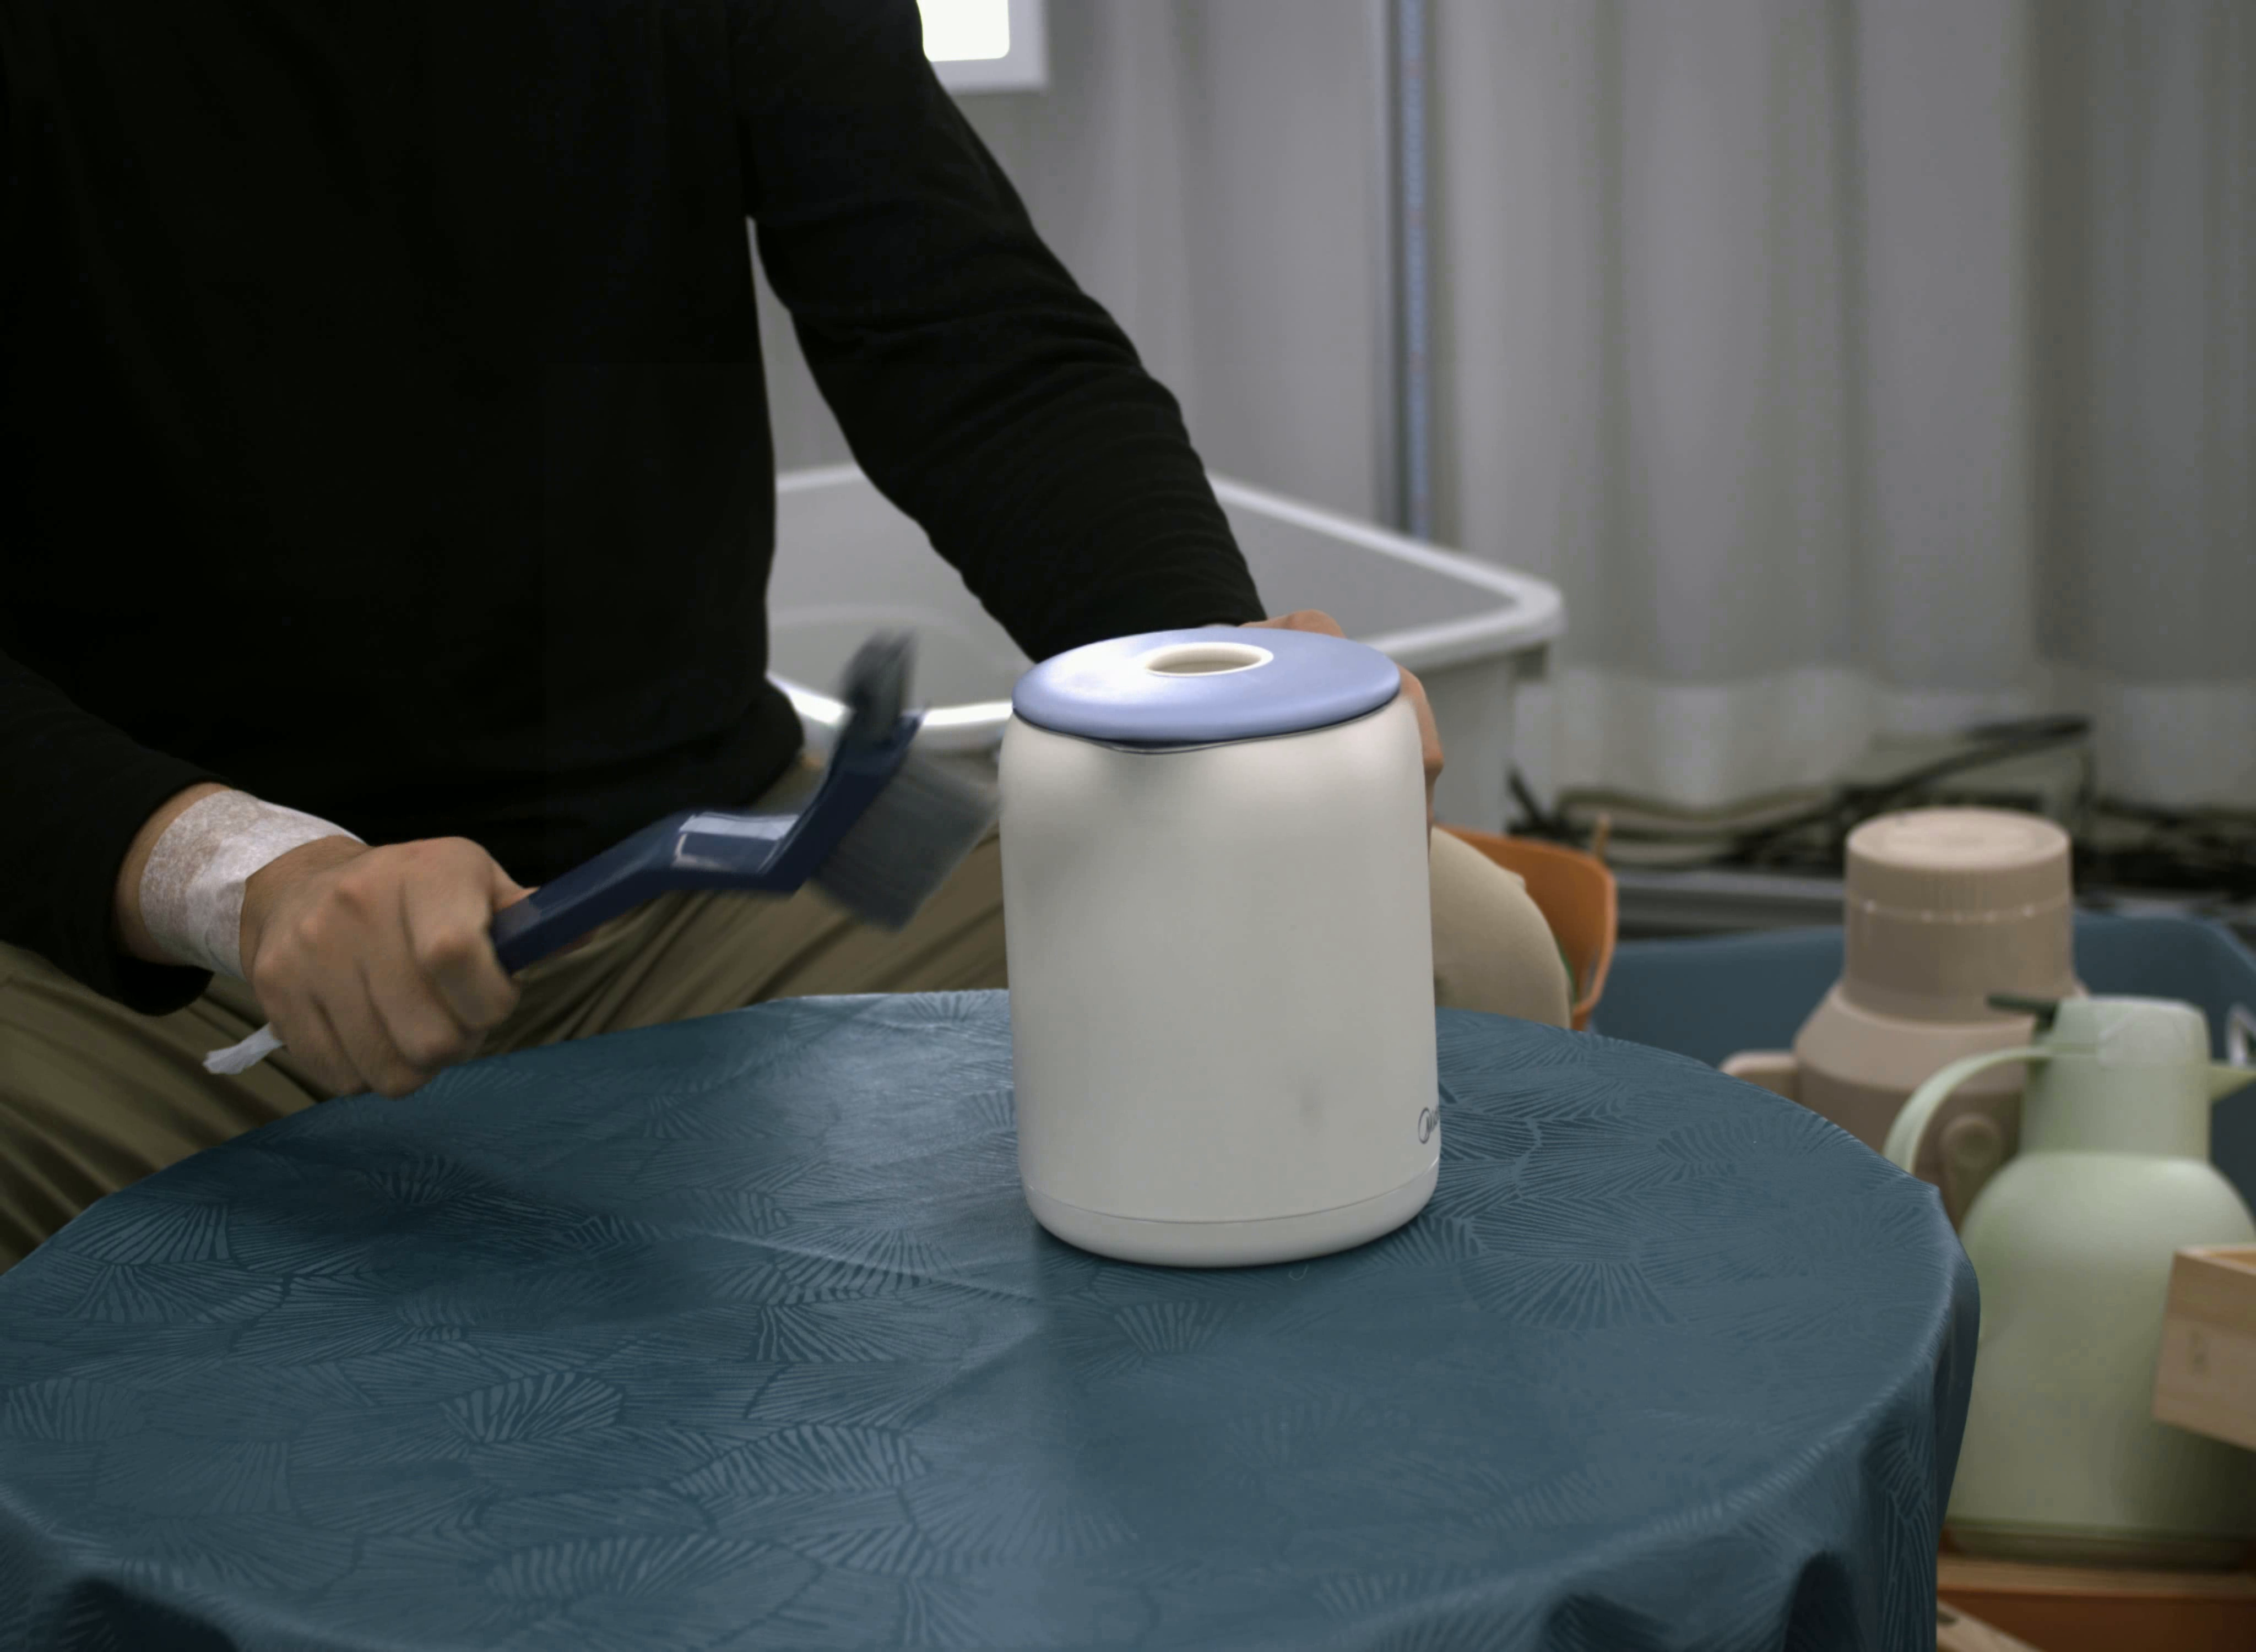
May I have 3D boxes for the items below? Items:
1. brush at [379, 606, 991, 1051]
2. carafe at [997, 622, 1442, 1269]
[{"bbox_3d":[-0.147,0.006,1.632,0.272,0.095,0.034,-19,34,38],"label":"brush"},{"bbox_3d":[0.034,0.029,1.698,0.132,0.182,0.192,1,14,14],"label":"carafe"}]
